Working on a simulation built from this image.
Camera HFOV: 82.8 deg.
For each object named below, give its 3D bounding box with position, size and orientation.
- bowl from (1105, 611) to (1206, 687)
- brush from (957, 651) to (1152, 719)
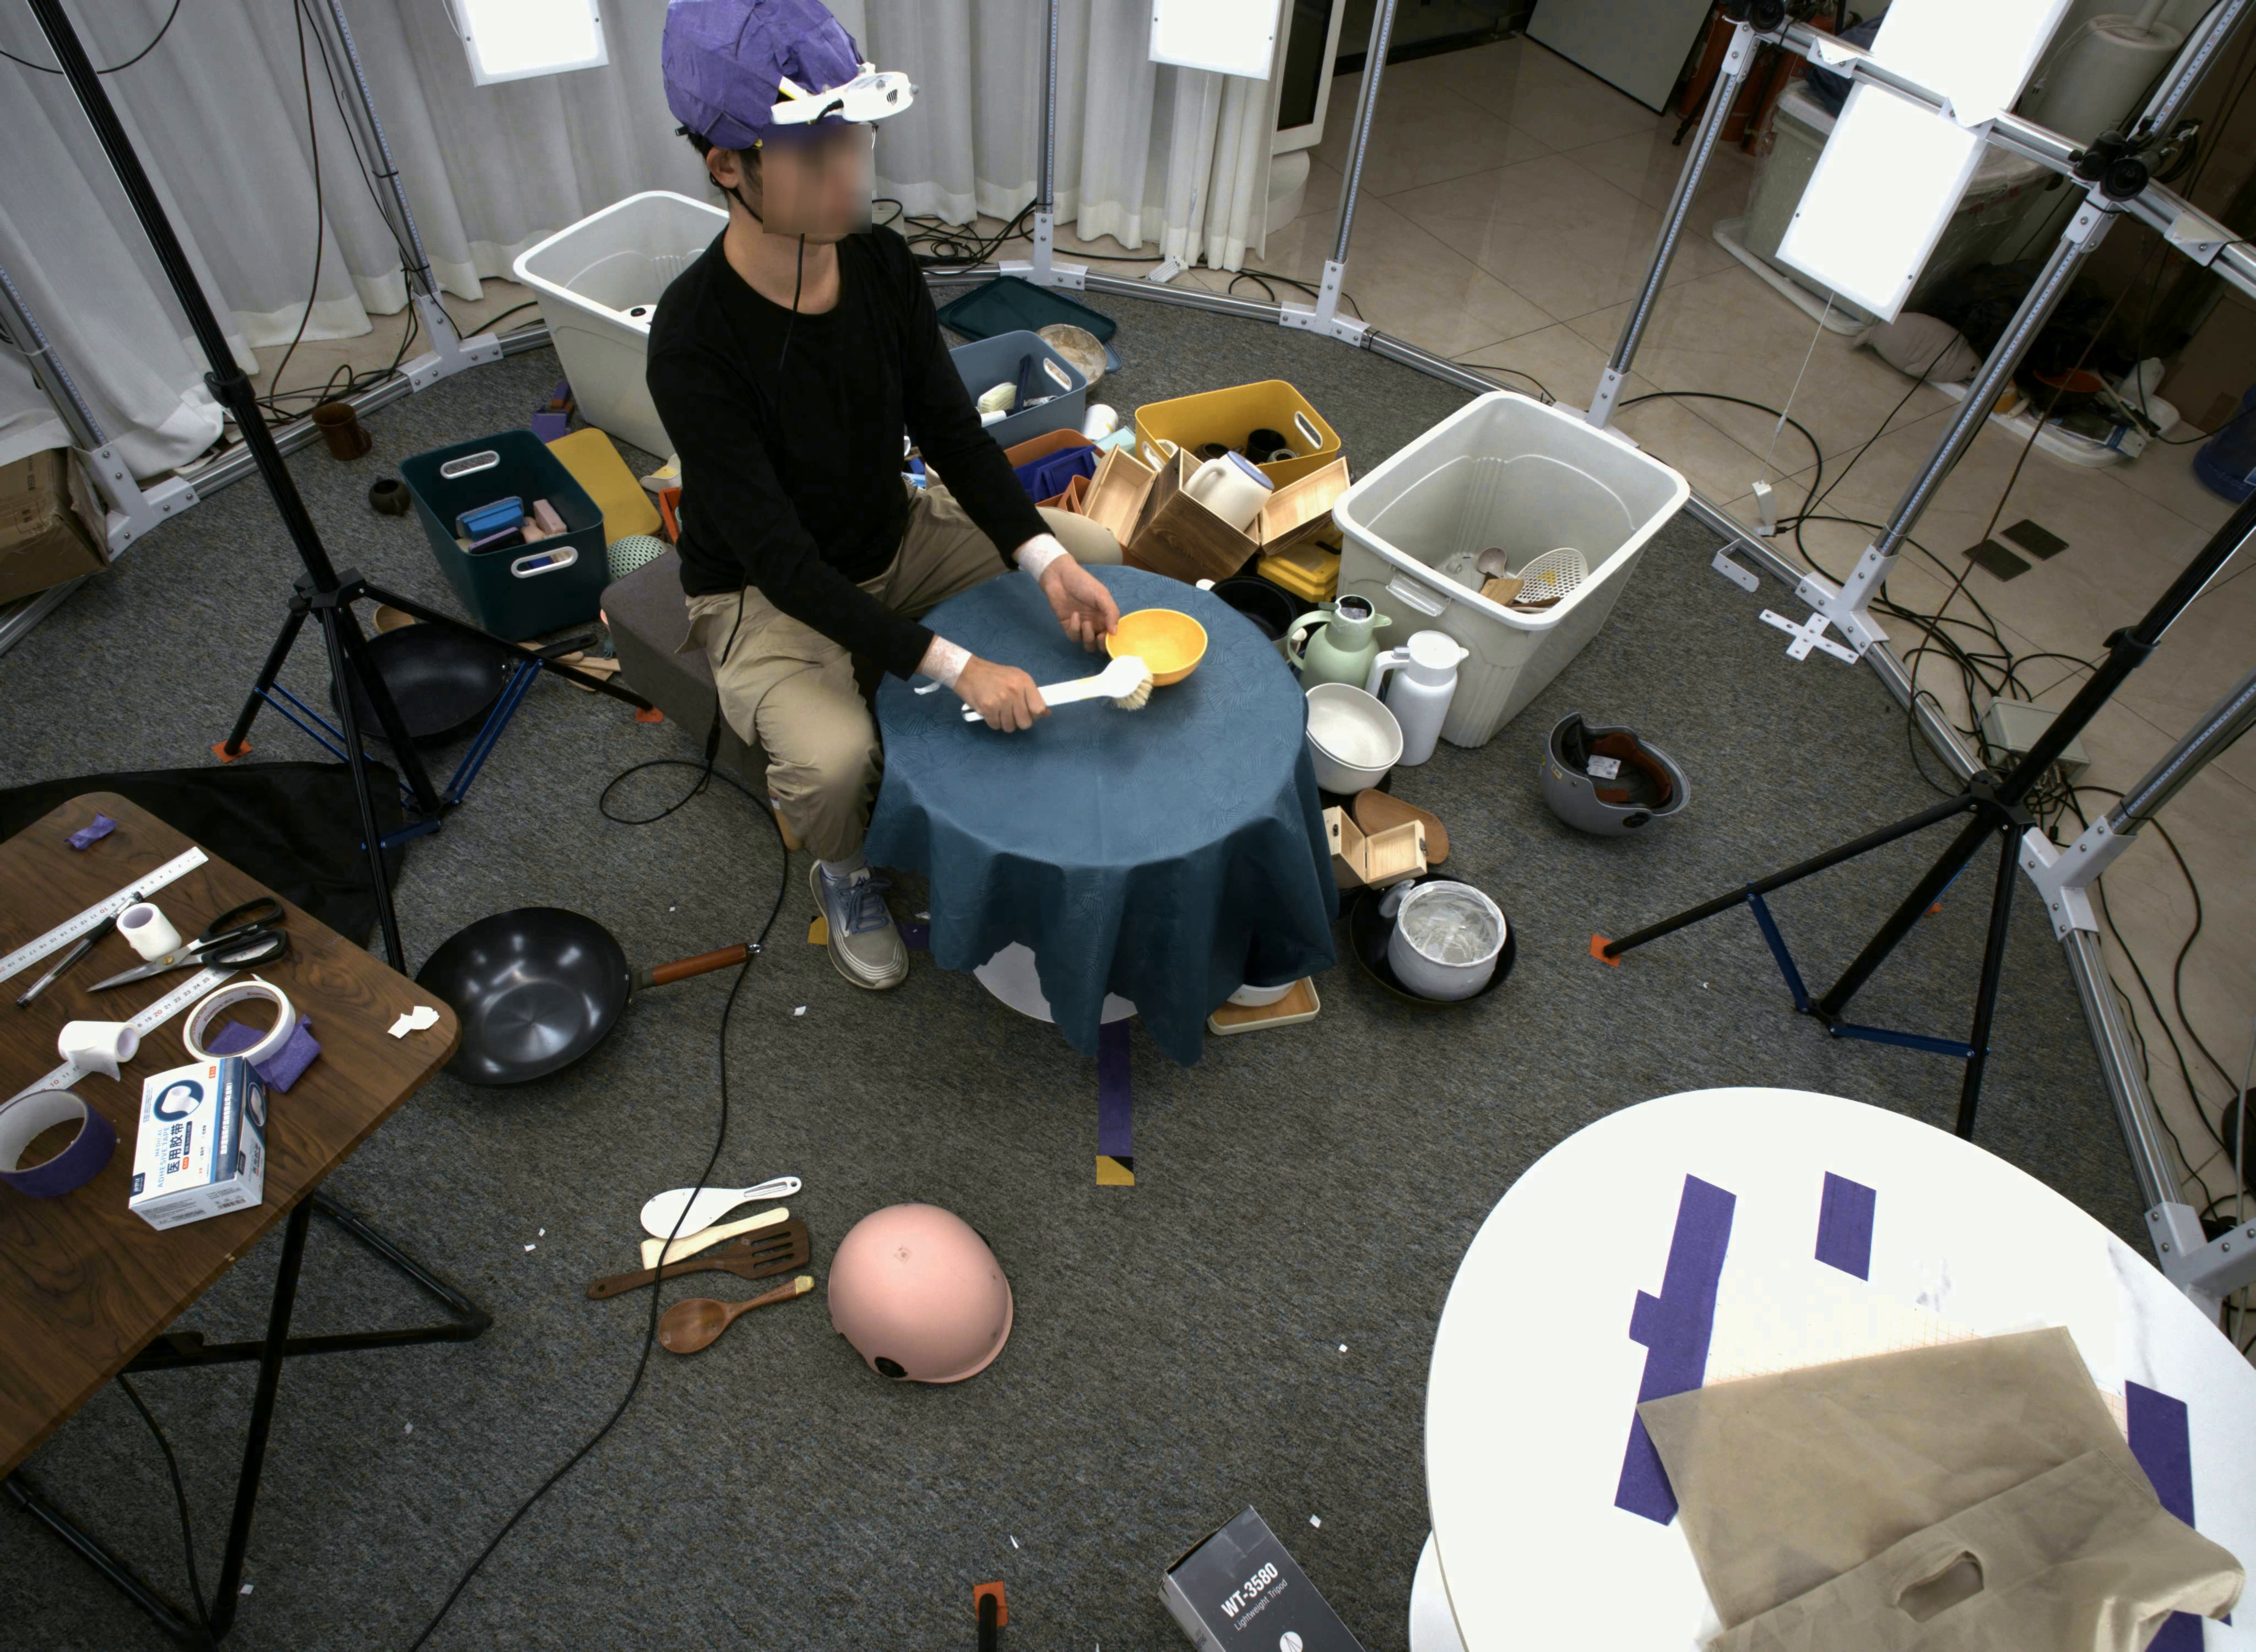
[{"bbox_3d":[0.040,-0.243,1.841,0.145,0.058,0.149,-1,45,0],"label":"bowl"},{"bbox_3d":[-0.099,-0.180,1.754,0.266,0.055,0.070,-15,60,6],"label":"brush"}]
